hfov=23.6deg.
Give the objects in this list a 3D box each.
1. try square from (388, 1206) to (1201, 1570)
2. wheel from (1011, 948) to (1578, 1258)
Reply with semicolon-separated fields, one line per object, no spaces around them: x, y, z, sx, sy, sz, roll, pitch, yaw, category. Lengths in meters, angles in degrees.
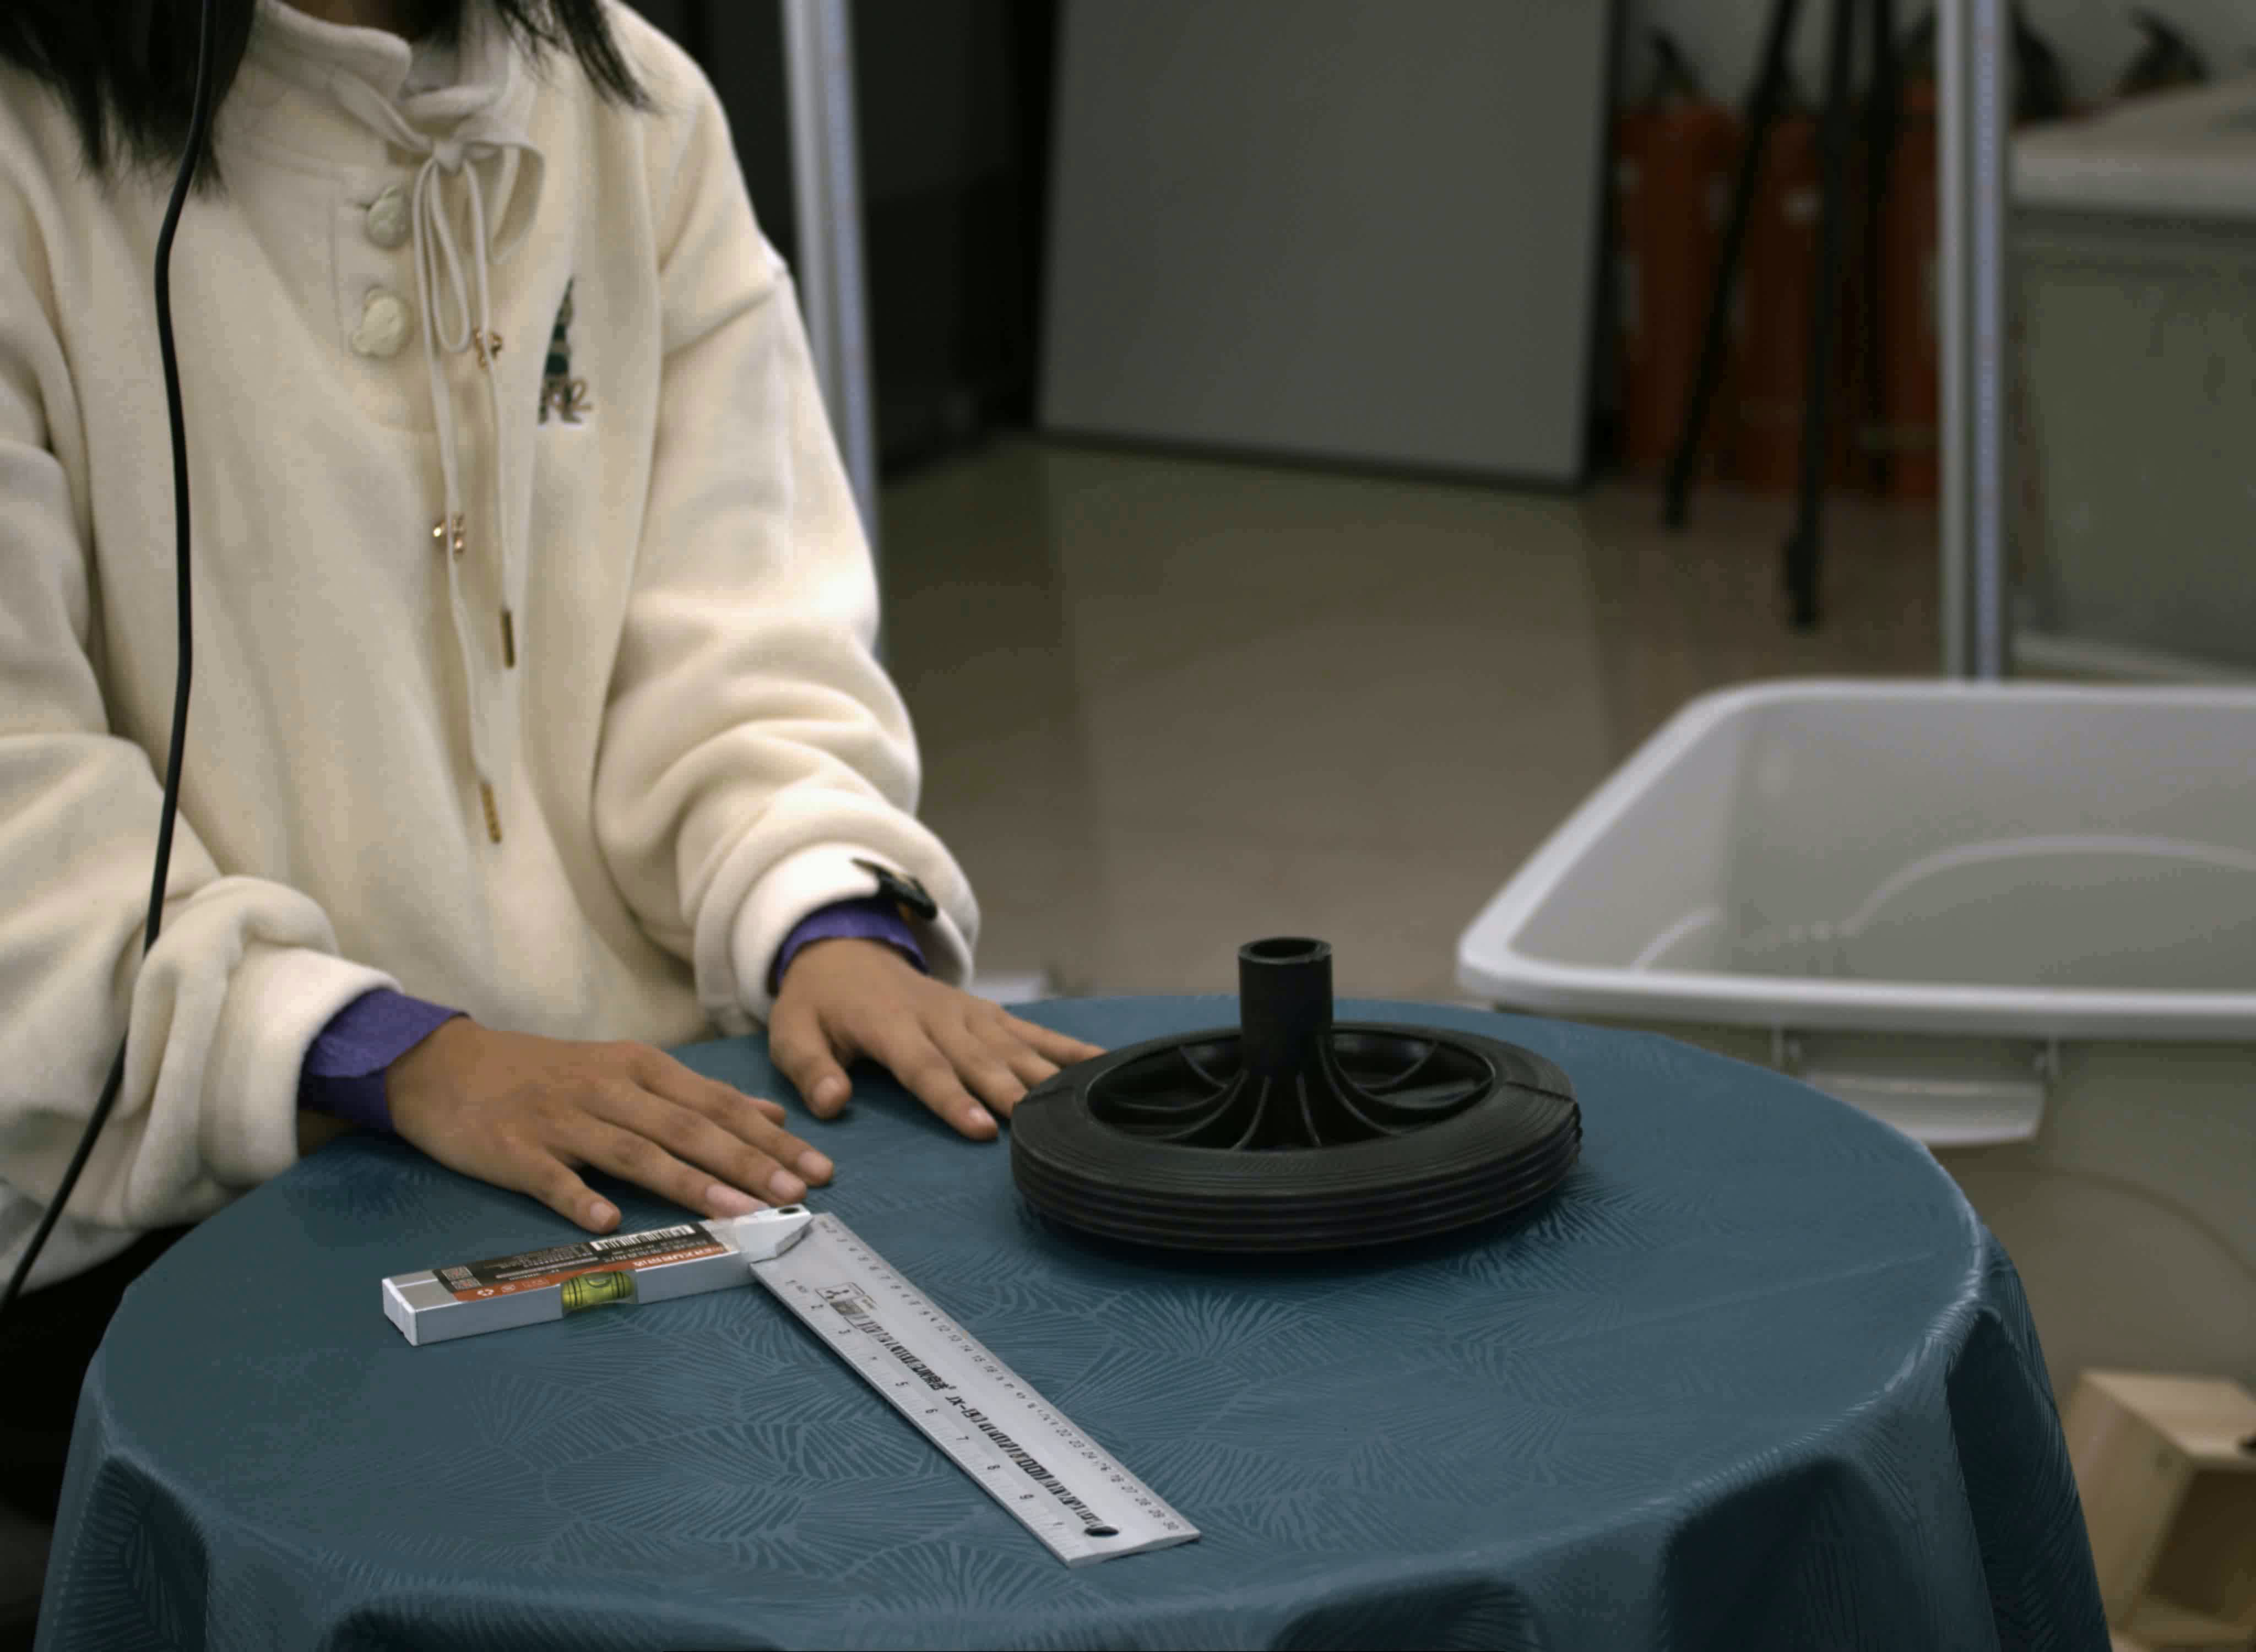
-0.106;0.174;1.584;0.149;0.016;0.316;-13;17;-19;try square
0.053;0.082;1.753;0.186;0.080;0.189;-16;18;-41;wheel
